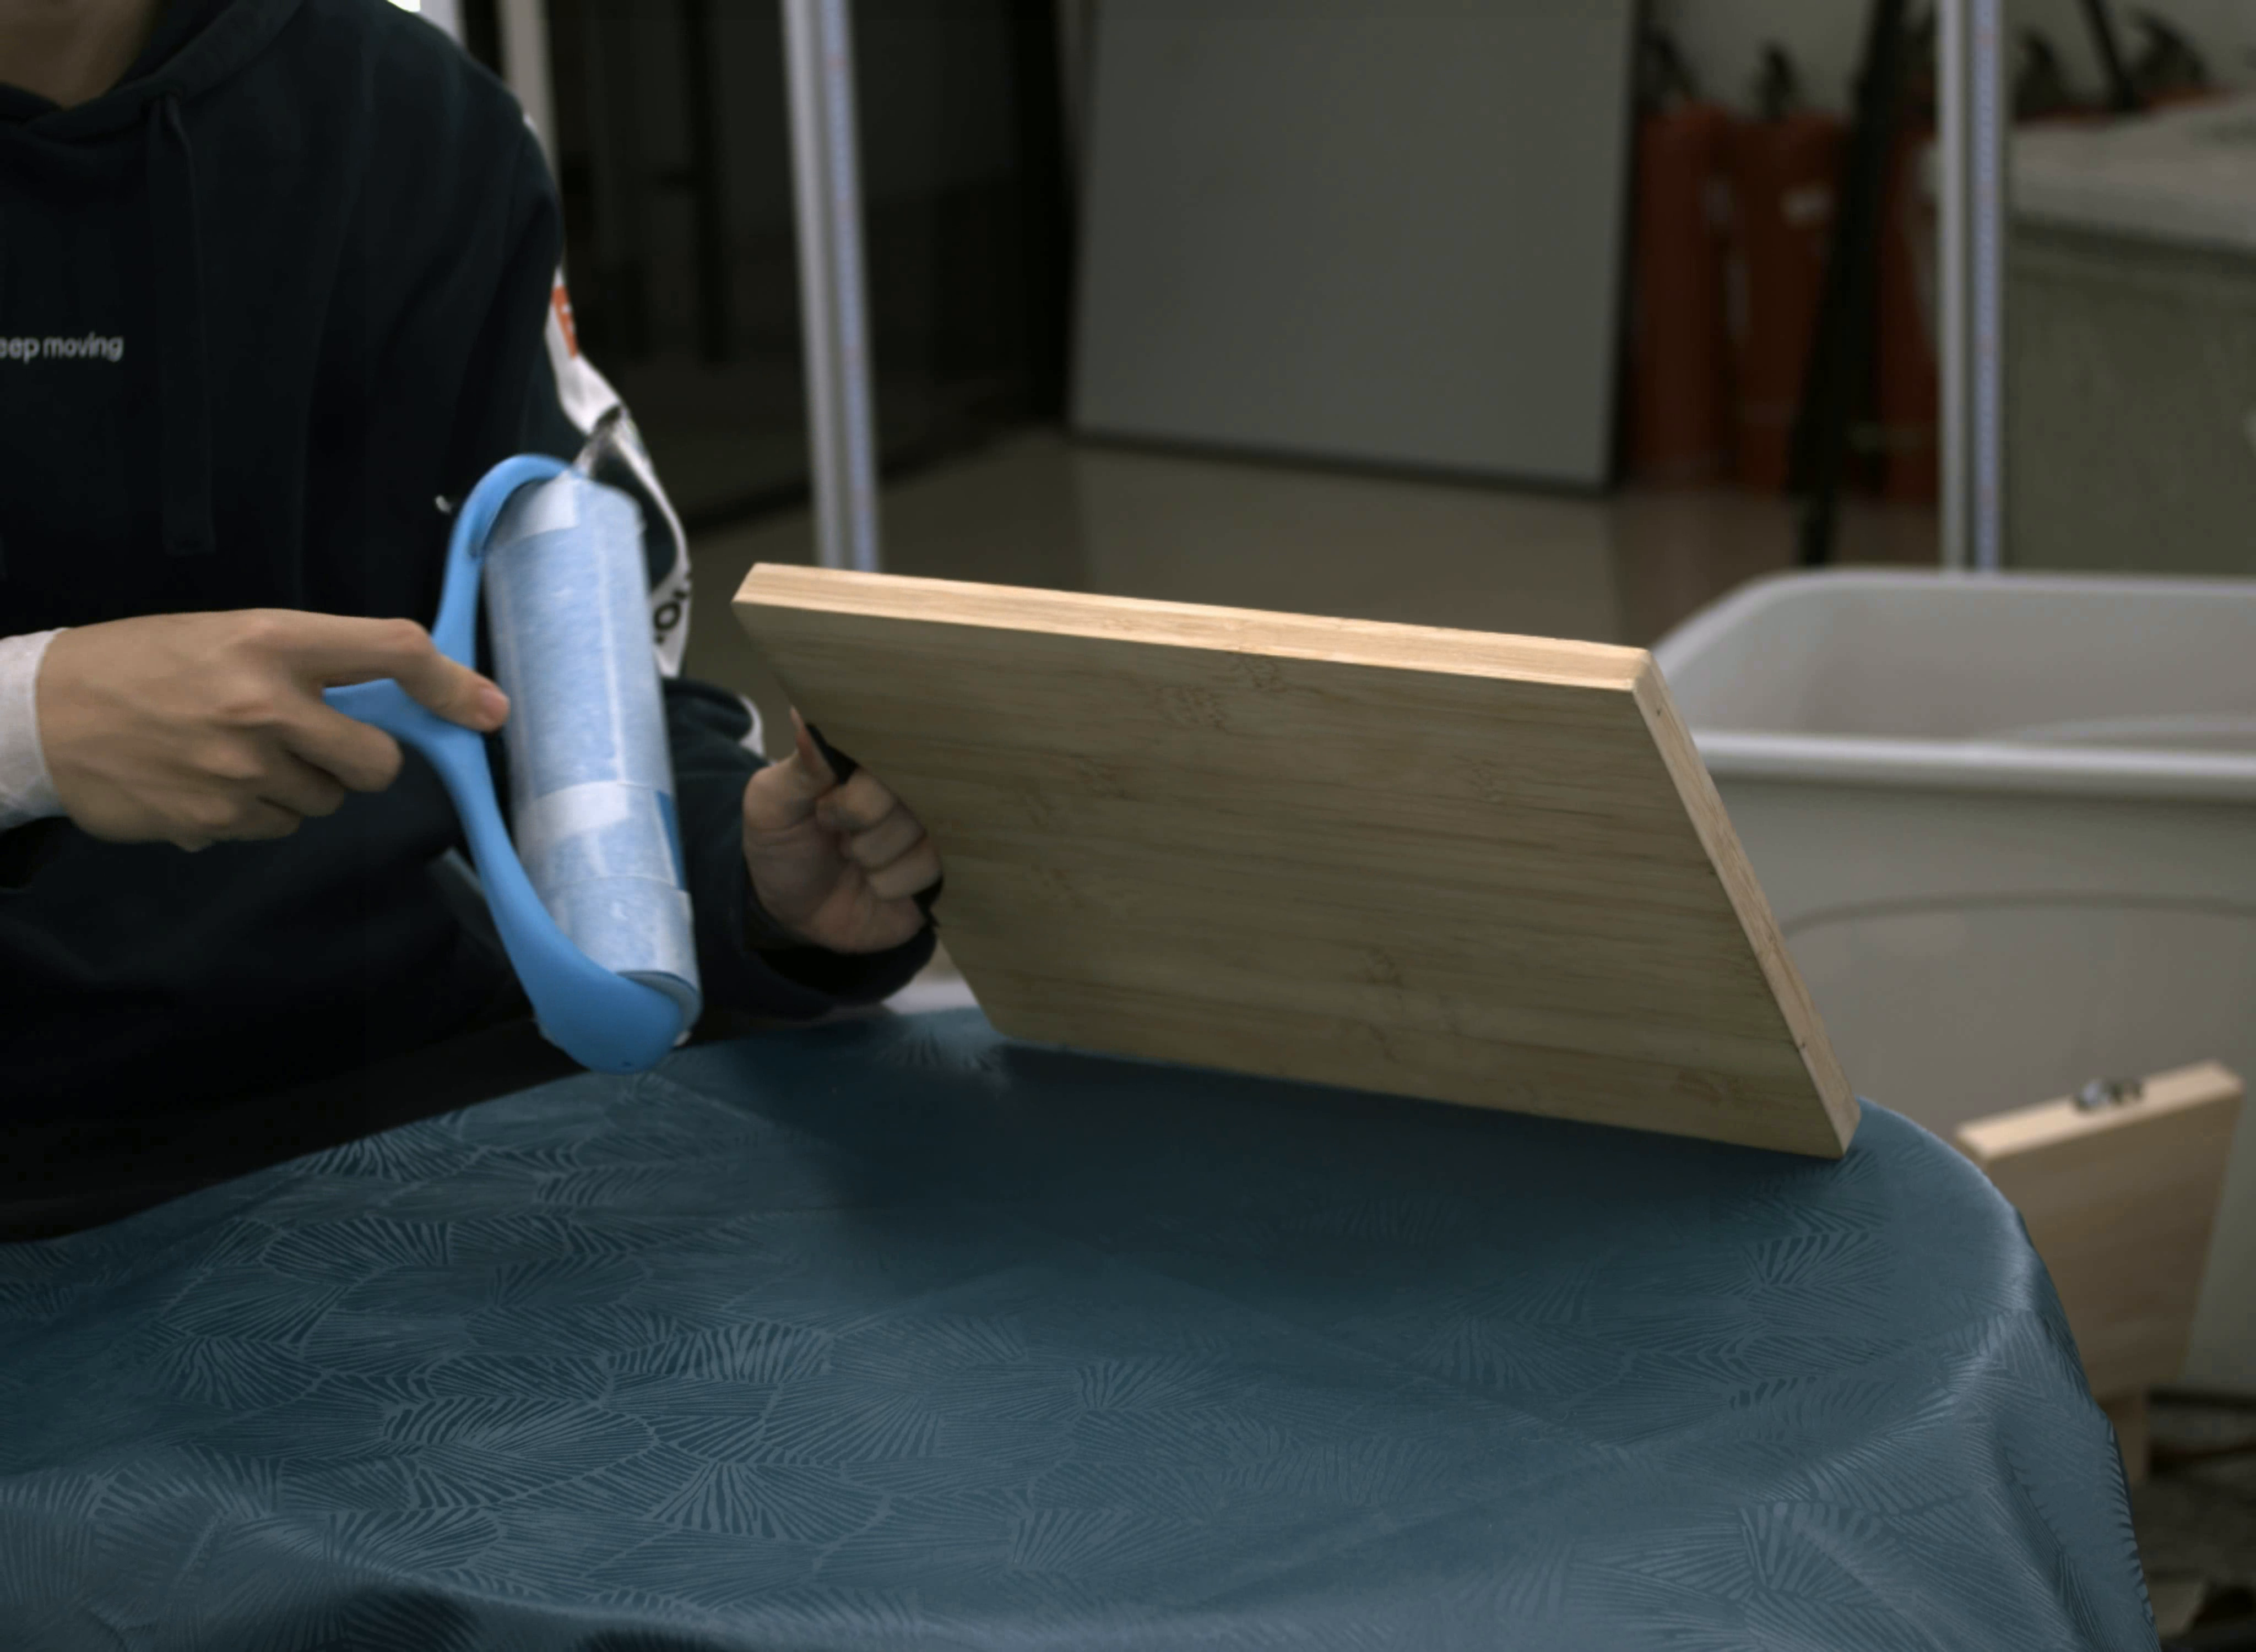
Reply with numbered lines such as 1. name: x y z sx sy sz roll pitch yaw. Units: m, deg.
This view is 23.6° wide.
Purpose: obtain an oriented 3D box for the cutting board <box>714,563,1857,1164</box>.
1. cutting board: 0.050 0.011 1.776 0.350 0.249 0.023 7 53 33

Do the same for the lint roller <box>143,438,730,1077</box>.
1. lint roller: -0.222 -0.023 1.742 0.176 0.232 0.068 -1 -29 -19
